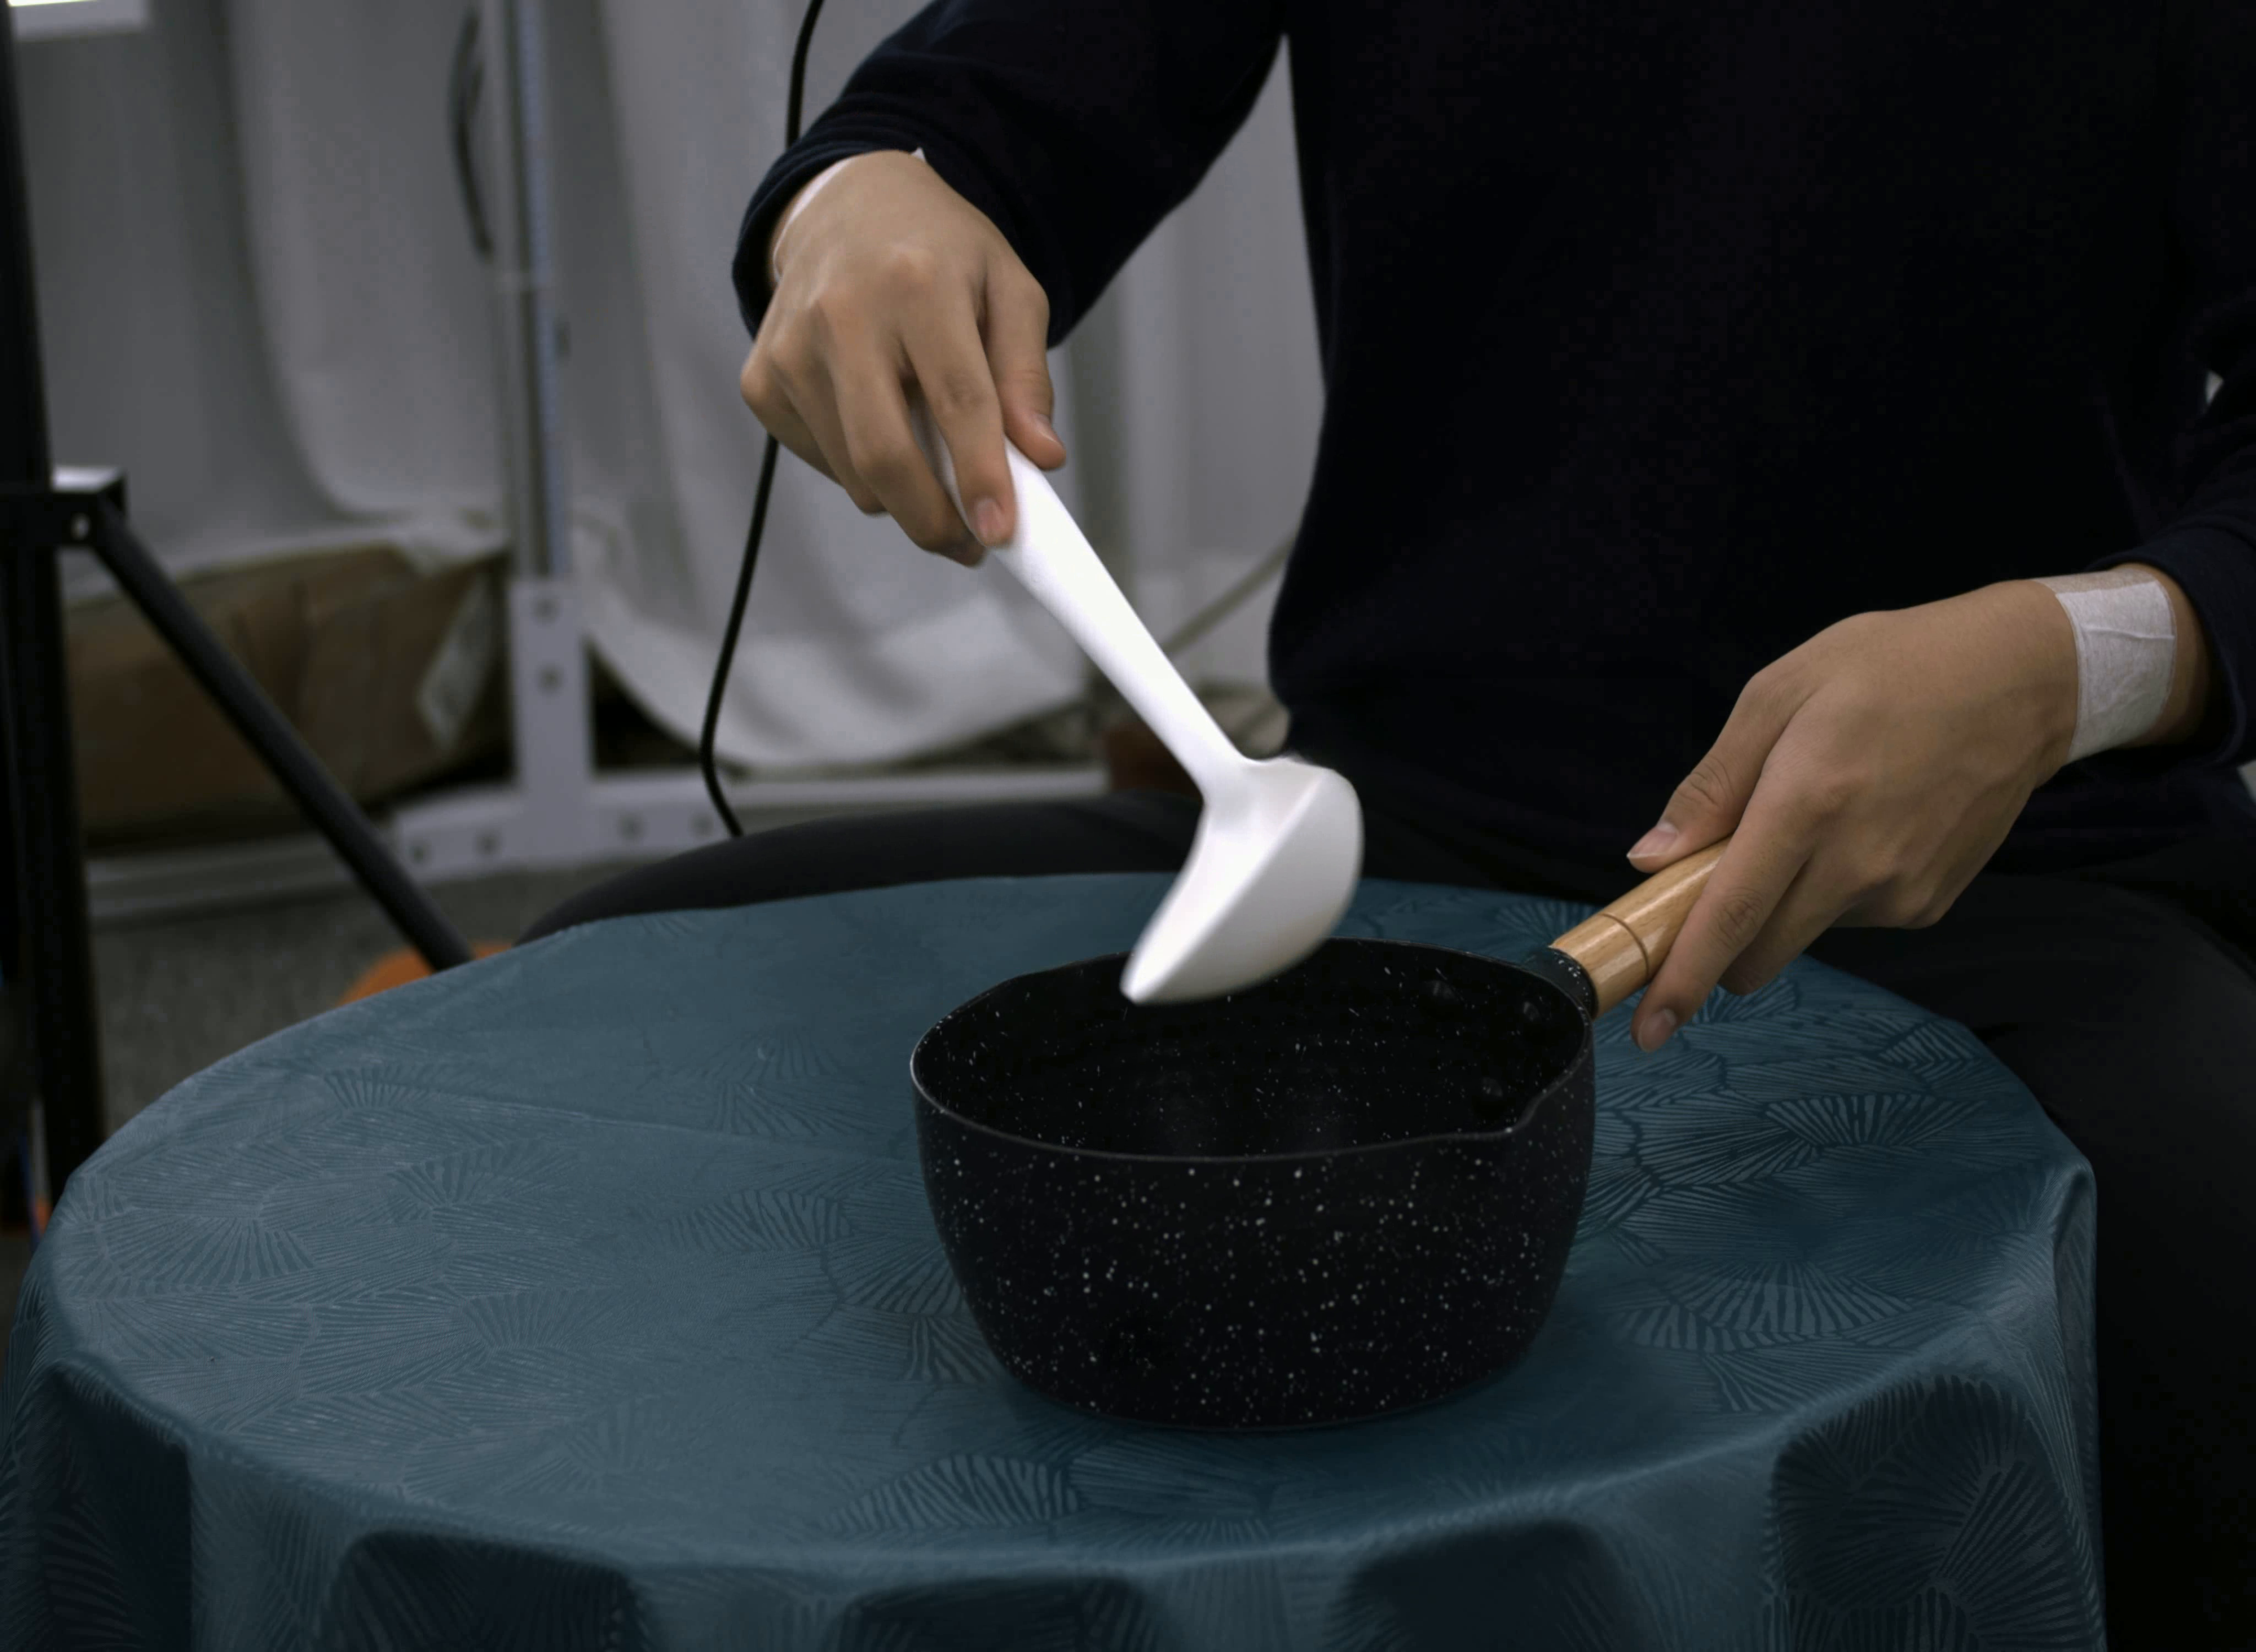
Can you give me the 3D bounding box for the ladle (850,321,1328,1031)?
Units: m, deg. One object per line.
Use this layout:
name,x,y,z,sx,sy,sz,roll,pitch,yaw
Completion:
ladle,-0.023,-0.053,1.494,0.068,0.091,0.299,14,29,-39

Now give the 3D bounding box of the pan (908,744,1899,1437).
pan,0.094,0.068,1.475,0.335,0.108,0.212,-18,21,-37
